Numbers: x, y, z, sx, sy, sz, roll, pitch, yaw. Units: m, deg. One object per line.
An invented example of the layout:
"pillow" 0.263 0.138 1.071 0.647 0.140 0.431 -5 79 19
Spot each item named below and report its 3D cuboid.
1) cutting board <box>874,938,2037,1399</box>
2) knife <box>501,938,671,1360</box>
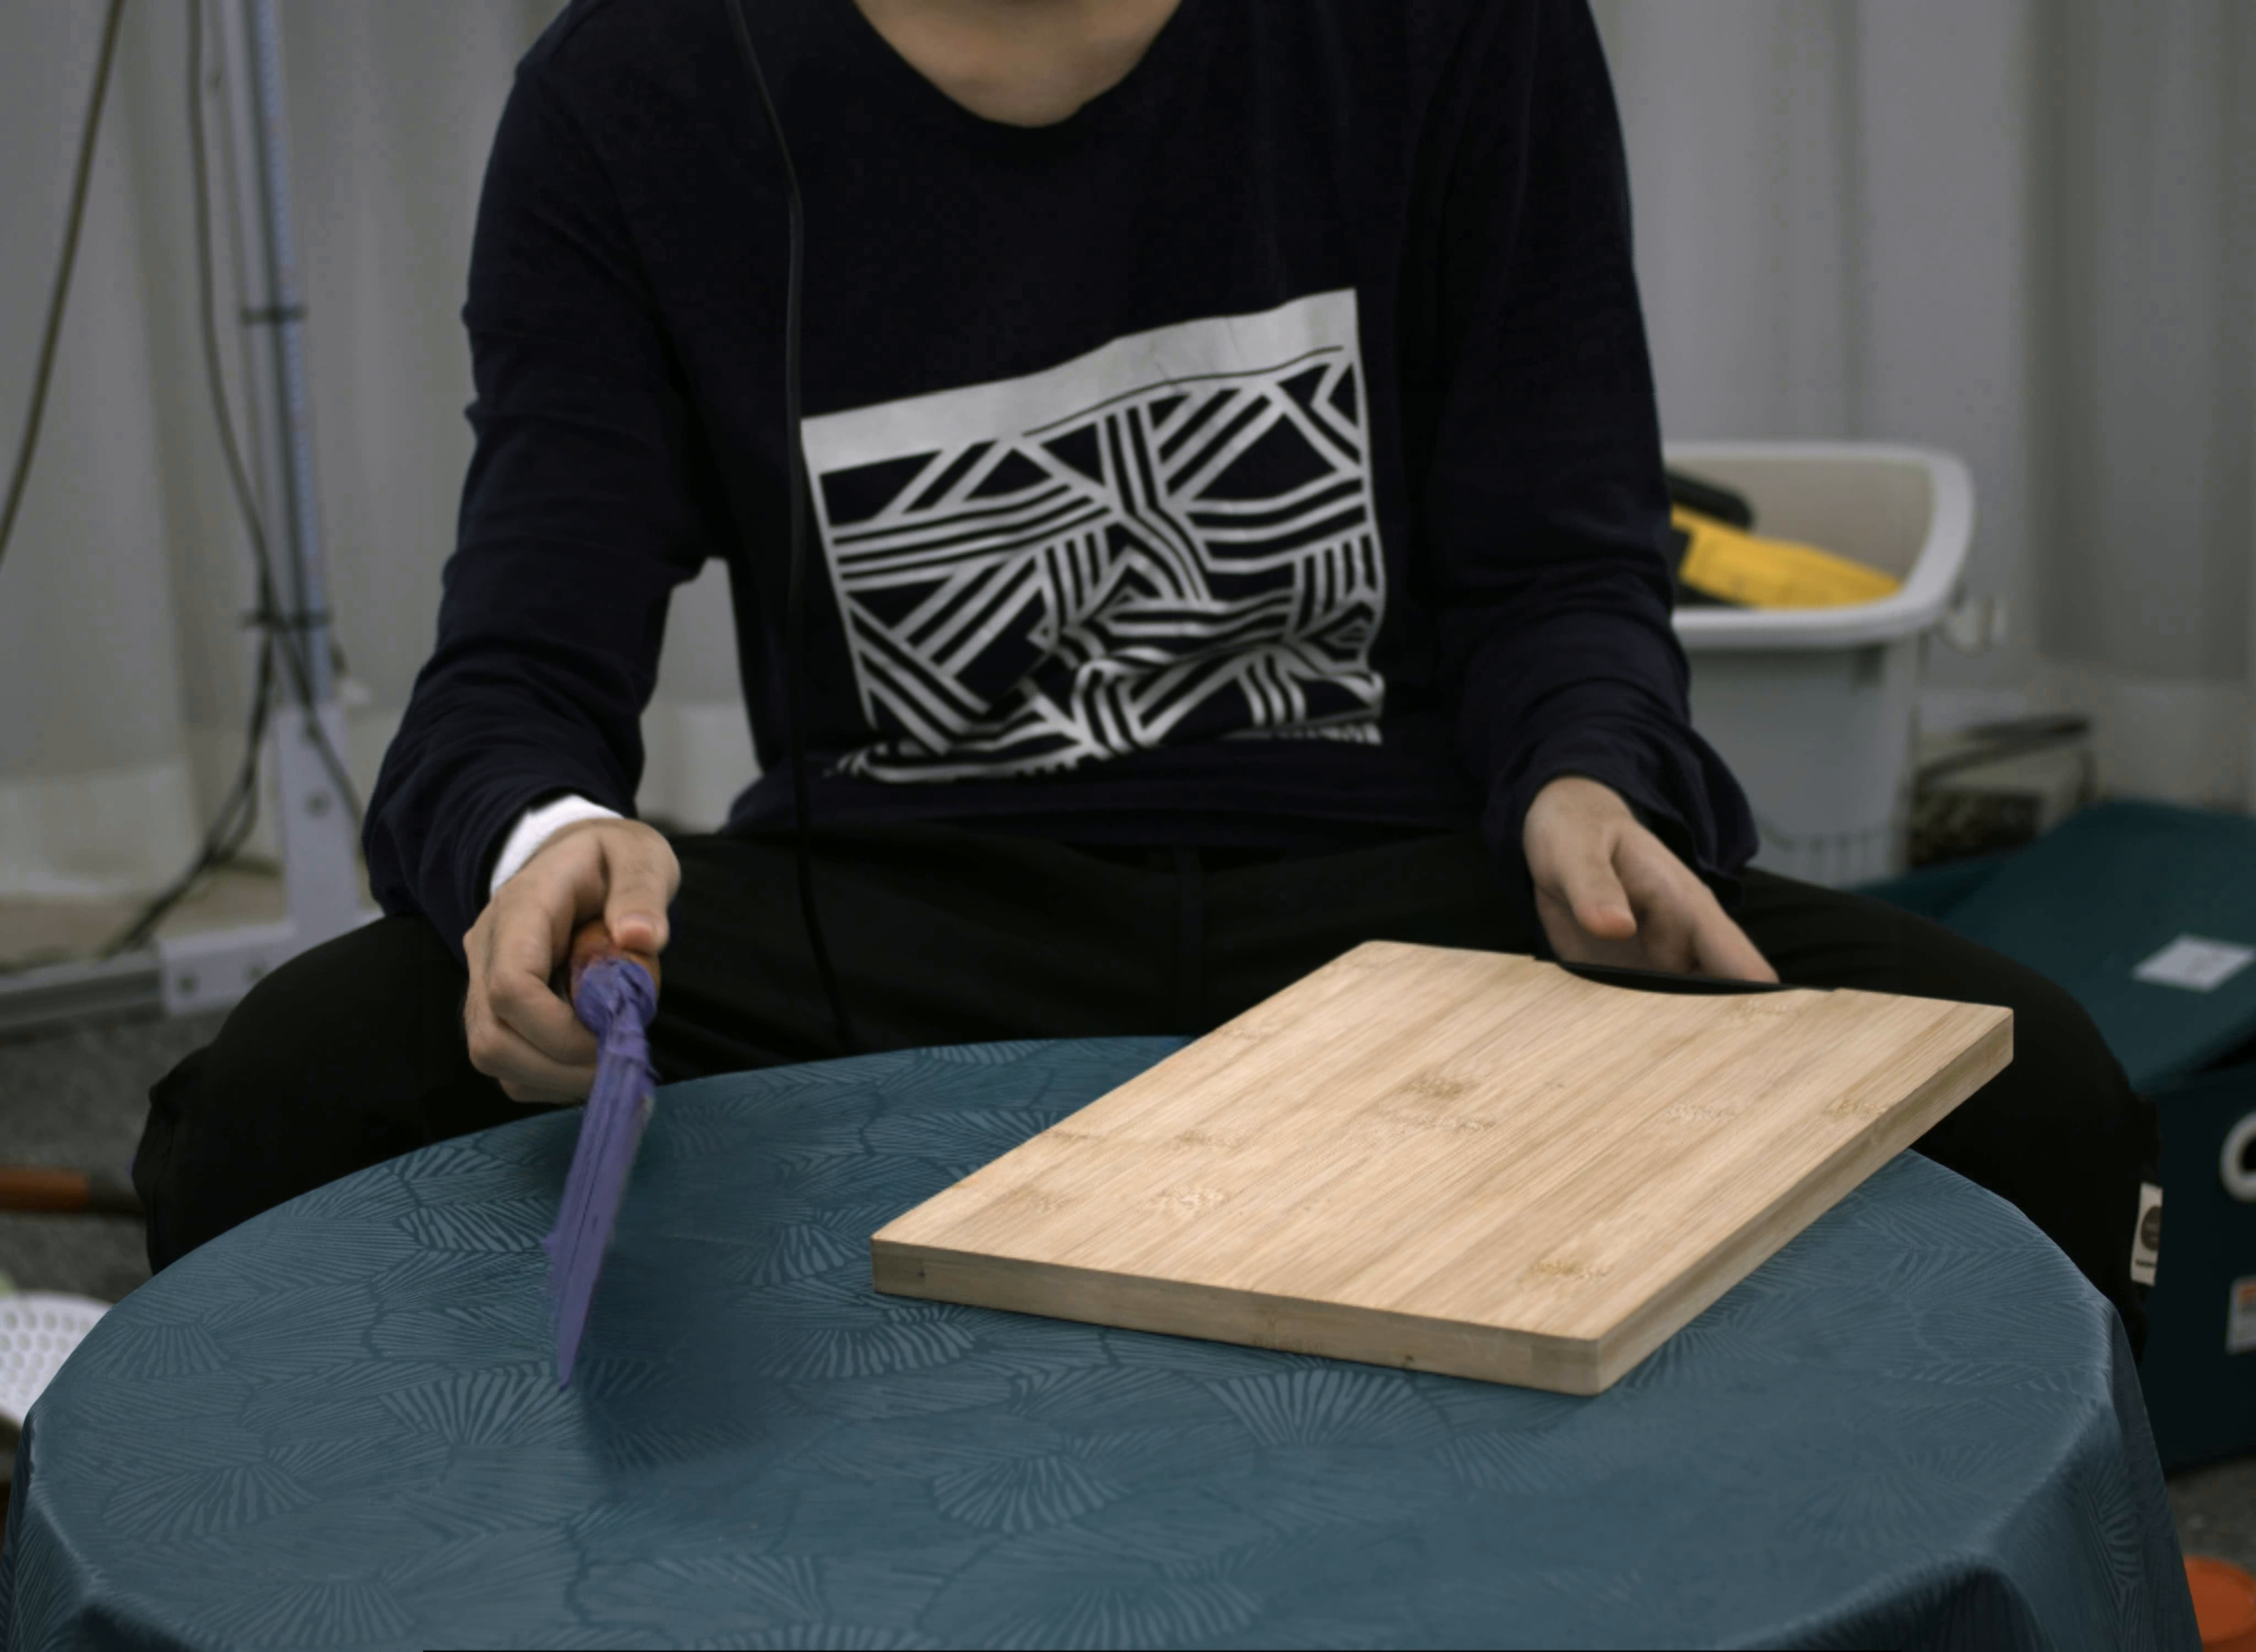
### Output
"cutting board" 0.110 0.100 1.724 0.251 0.023 0.349 5 17 28
"knife" -0.165 0.093 1.641 0.032 0.104 0.316 22 3 -8
